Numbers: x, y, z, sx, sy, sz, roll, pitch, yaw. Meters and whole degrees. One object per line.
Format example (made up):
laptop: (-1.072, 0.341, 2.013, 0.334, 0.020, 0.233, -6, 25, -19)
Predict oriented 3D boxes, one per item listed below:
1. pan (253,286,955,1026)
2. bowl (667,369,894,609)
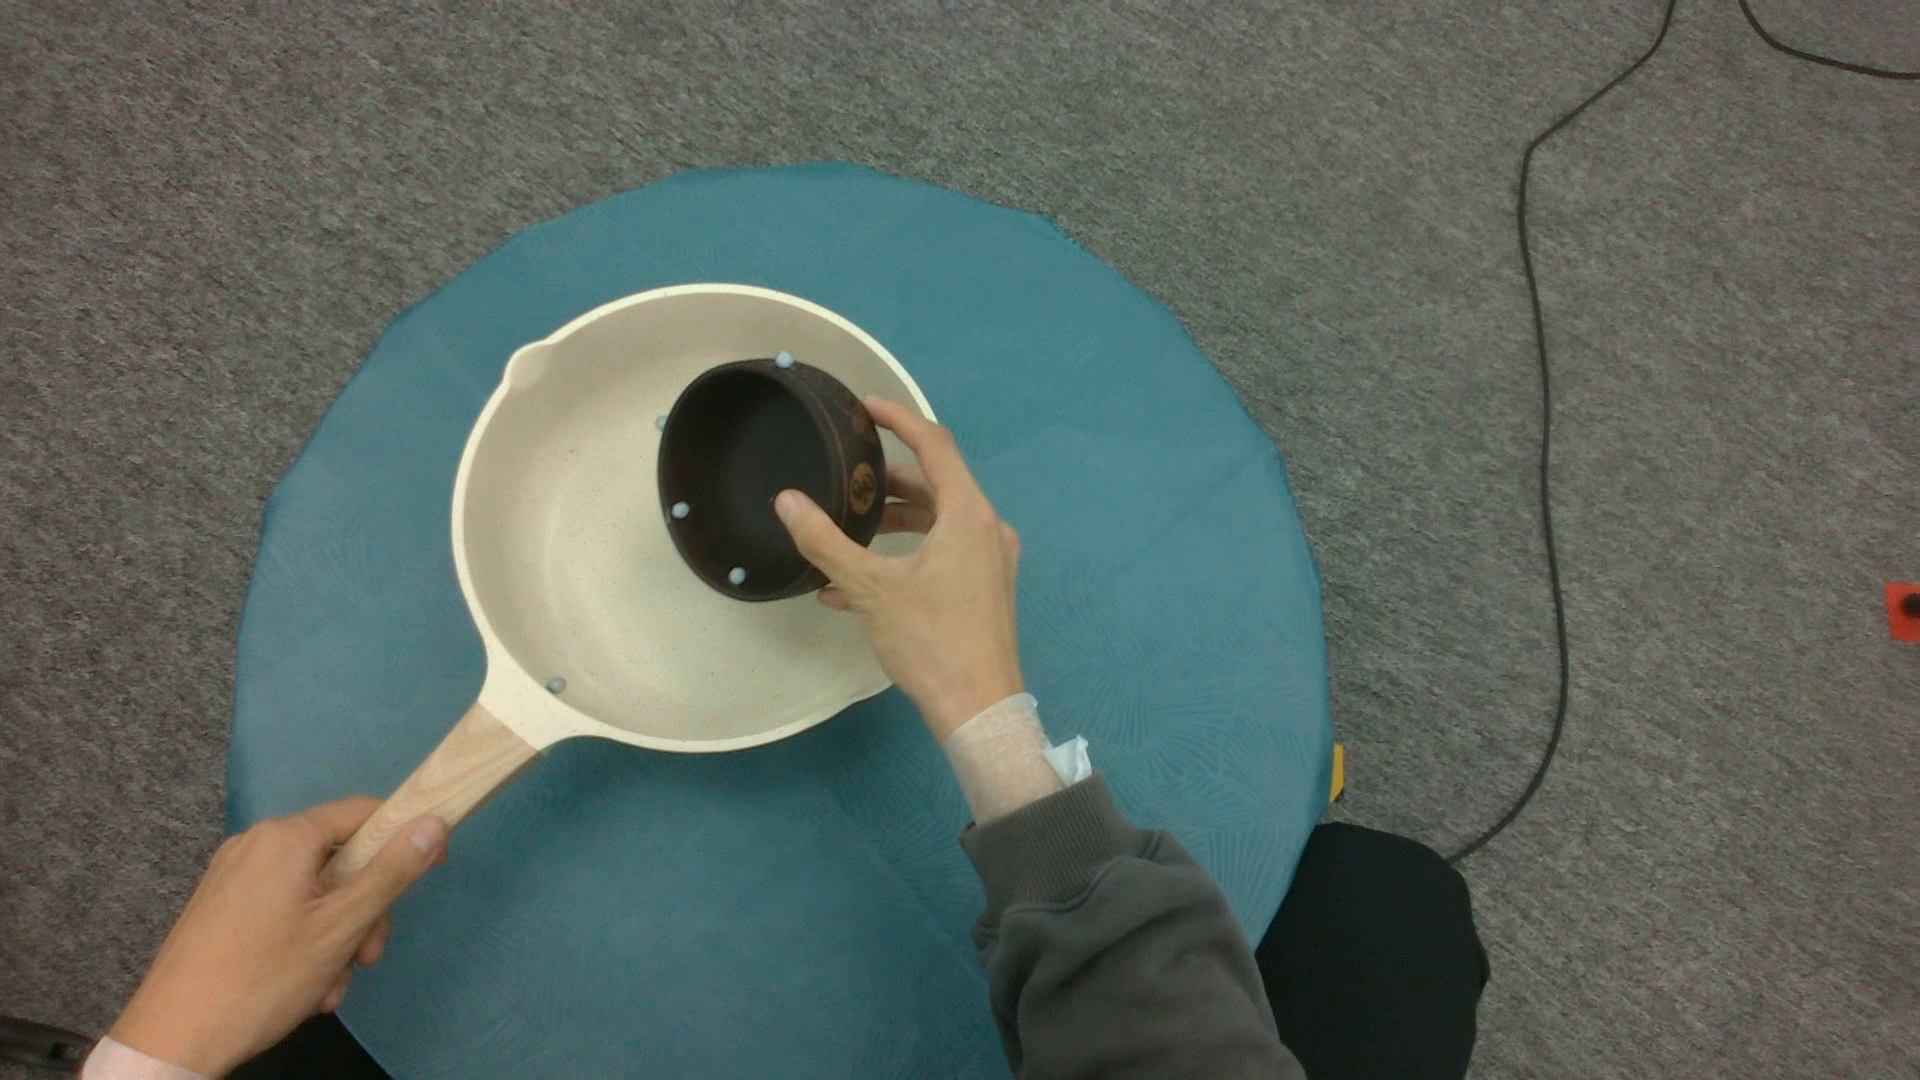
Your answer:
pan: (-0.185, 0.060, 0.718, 0.263, 0.101, 0.436, 37, 74, 6)
bowl: (-0.083, -0.028, 0.698, 0.118, 0.070, 0.118, 6, 101, 31)
